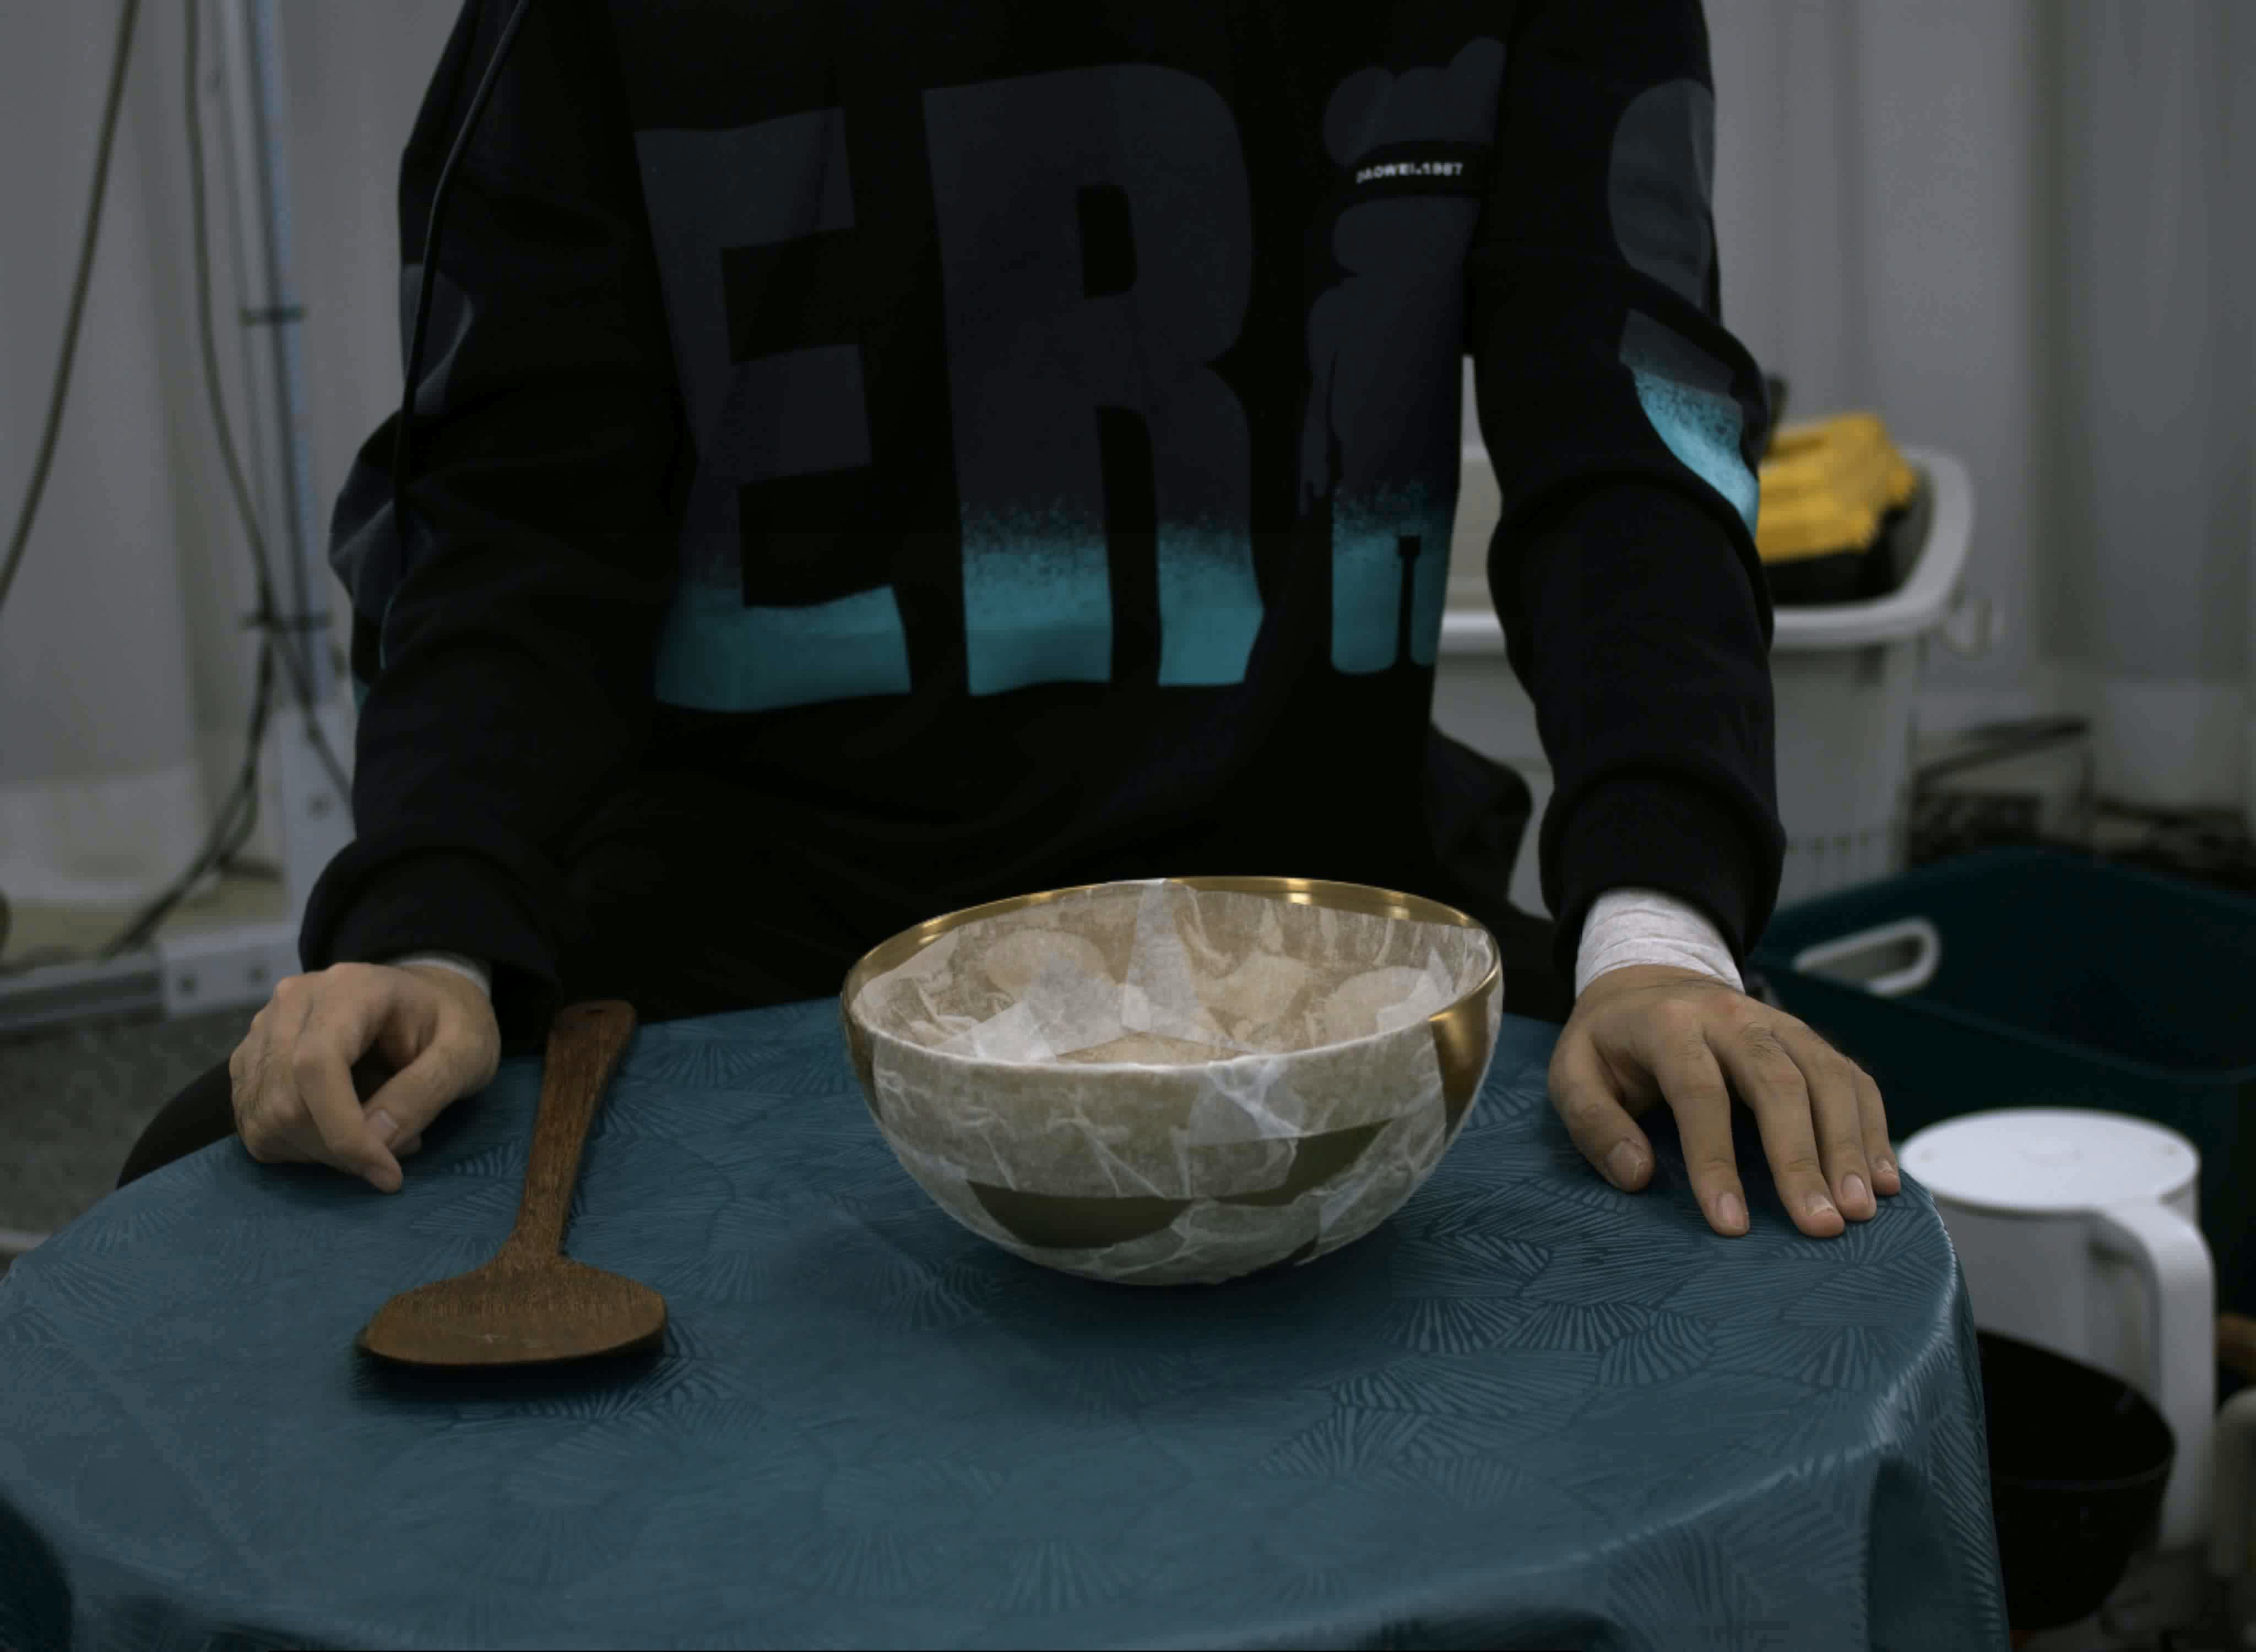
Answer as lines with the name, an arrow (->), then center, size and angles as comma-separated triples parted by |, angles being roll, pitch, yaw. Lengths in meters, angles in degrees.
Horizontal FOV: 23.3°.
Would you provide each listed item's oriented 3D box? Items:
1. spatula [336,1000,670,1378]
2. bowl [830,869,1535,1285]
spatula -> -0.184, 0.110, 1.744 | 0.096, 0.016, 0.388 | -3, 14, -1
bowl -> 0.018, 0.084, 1.649 | 0.214, 0.094, 0.216 | -4, 13, 1
